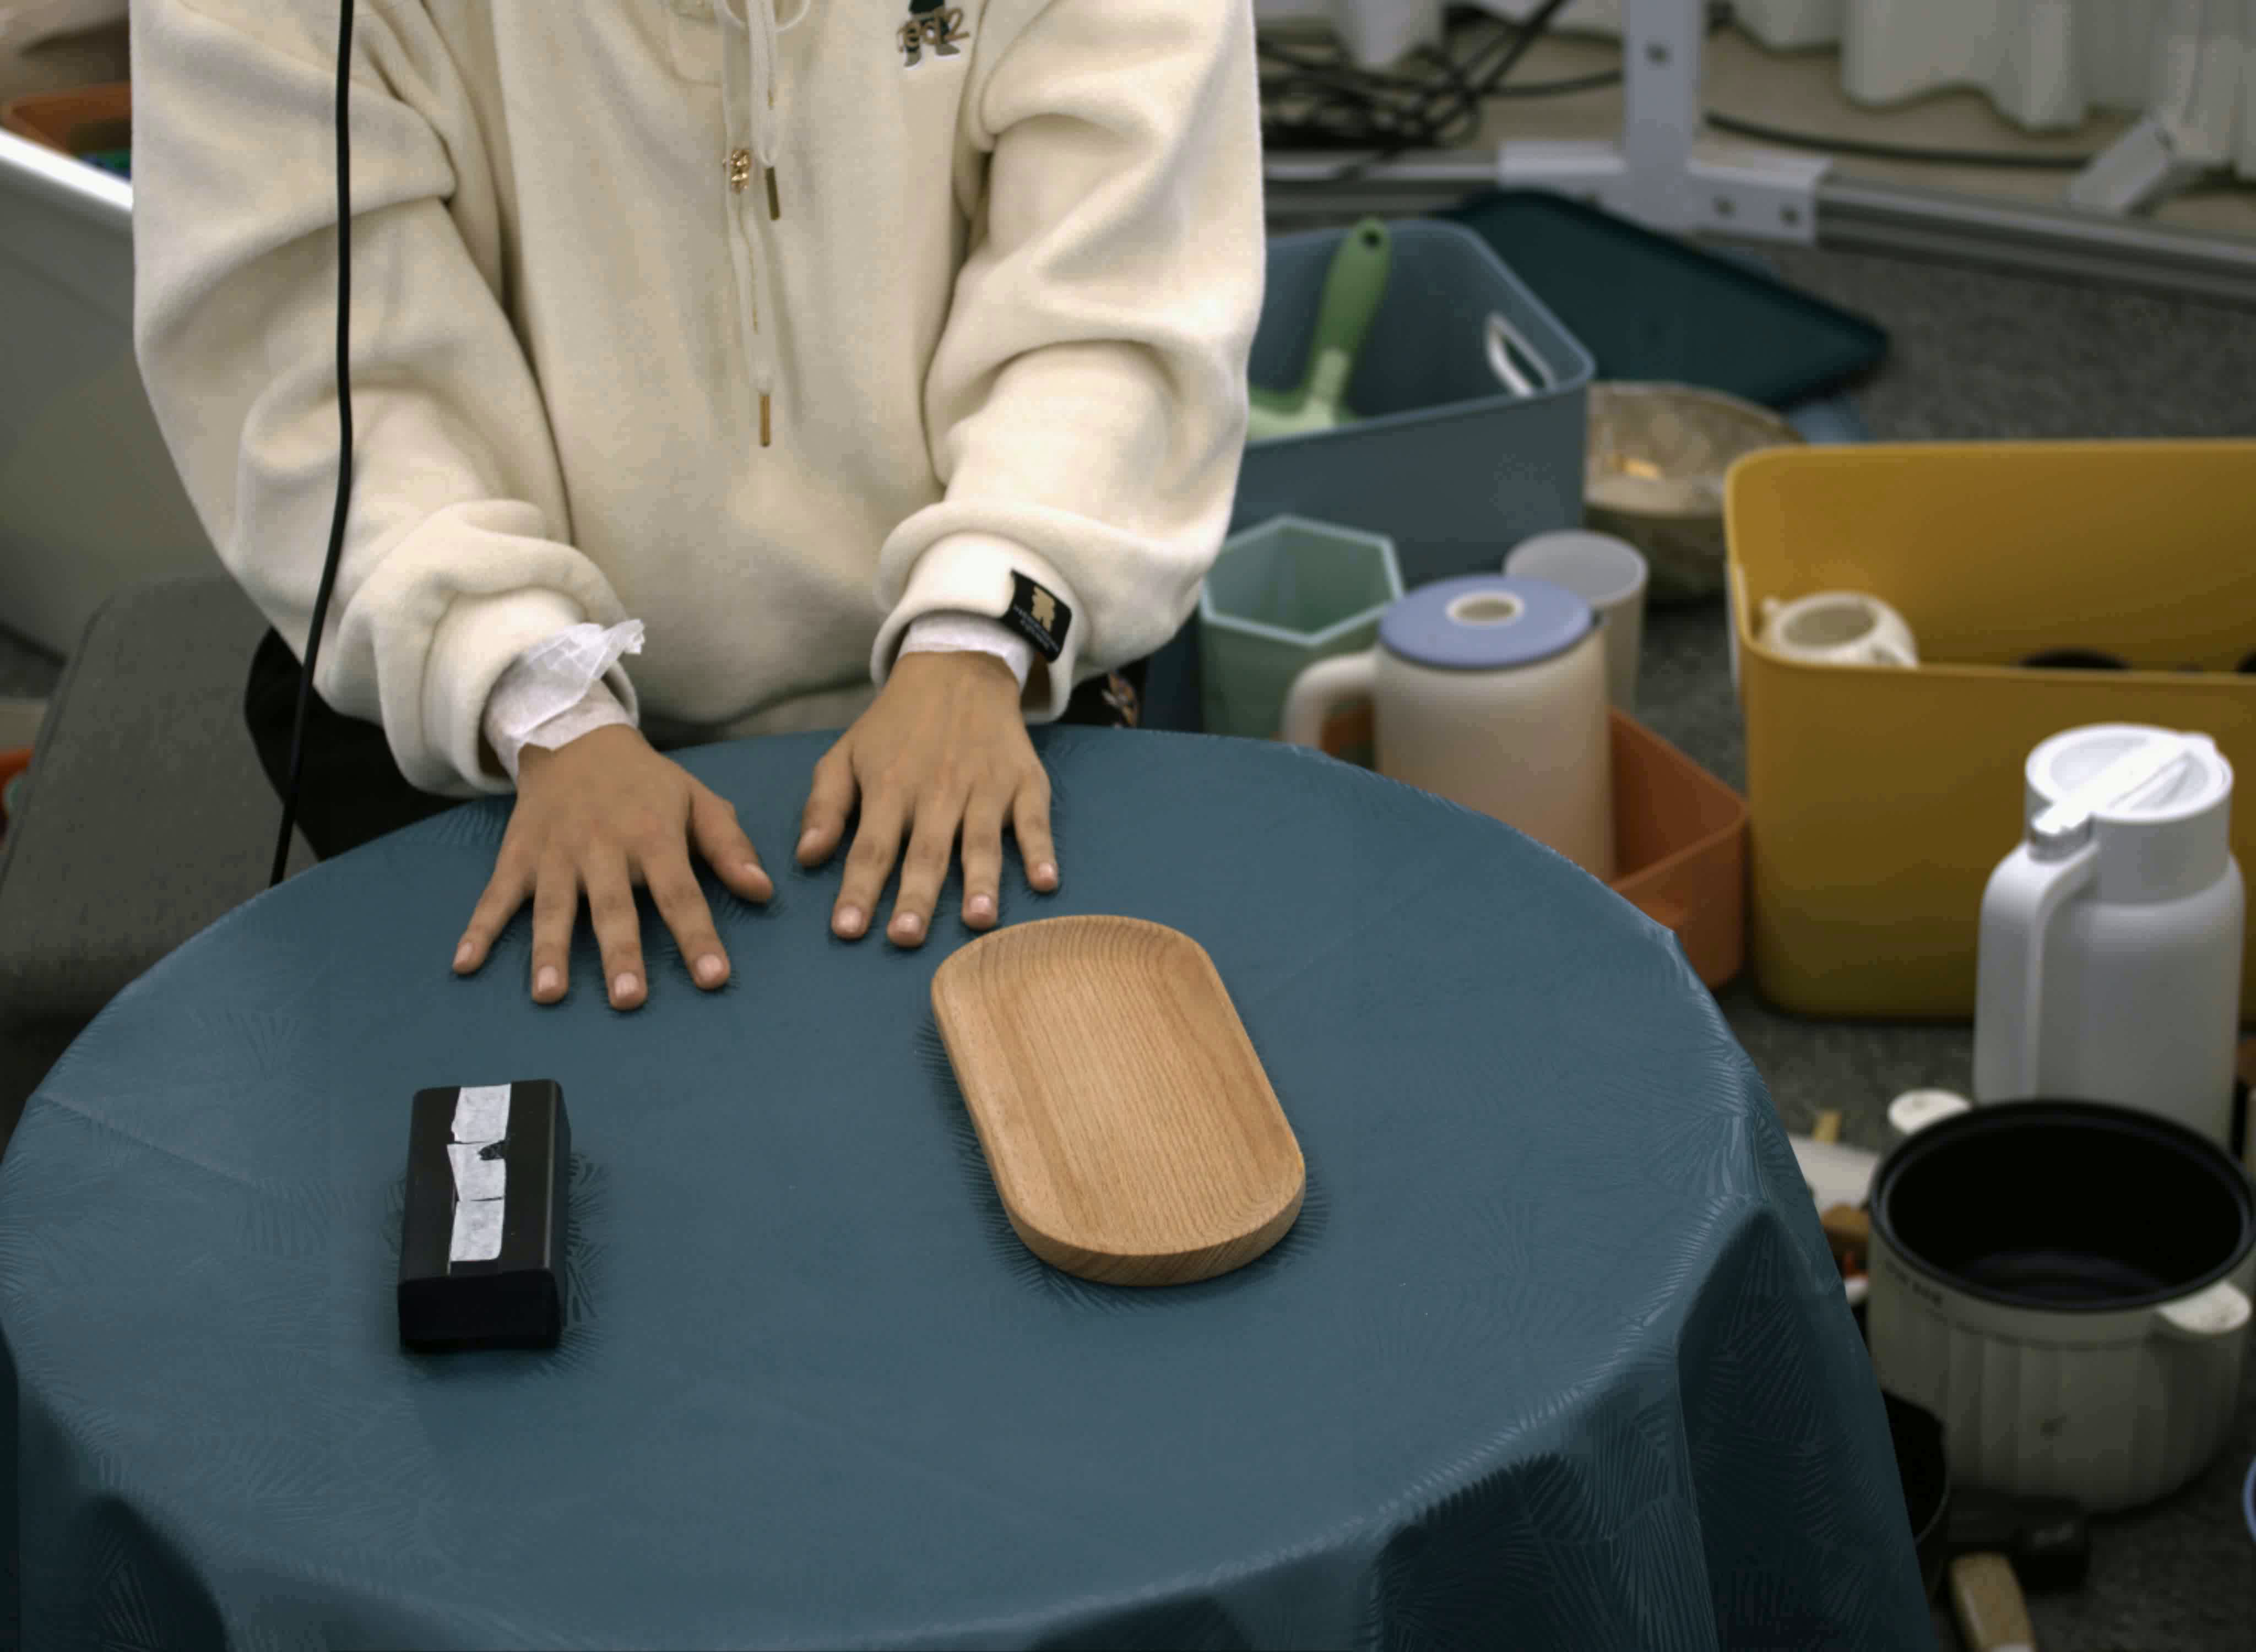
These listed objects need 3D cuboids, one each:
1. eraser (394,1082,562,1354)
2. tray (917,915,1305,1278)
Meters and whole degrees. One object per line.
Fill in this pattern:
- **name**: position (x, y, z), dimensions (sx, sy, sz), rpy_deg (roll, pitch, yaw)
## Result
- **eraser**: position (-0.212, 0.128, 1.838), dimensions (0.053, 0.030, 0.127), rpy_deg (1, 28, -6)
- **tray**: position (-0.008, 0.090, 1.907), dimensions (0.101, 0.020, 0.233), rpy_deg (-8, 26, -11)
